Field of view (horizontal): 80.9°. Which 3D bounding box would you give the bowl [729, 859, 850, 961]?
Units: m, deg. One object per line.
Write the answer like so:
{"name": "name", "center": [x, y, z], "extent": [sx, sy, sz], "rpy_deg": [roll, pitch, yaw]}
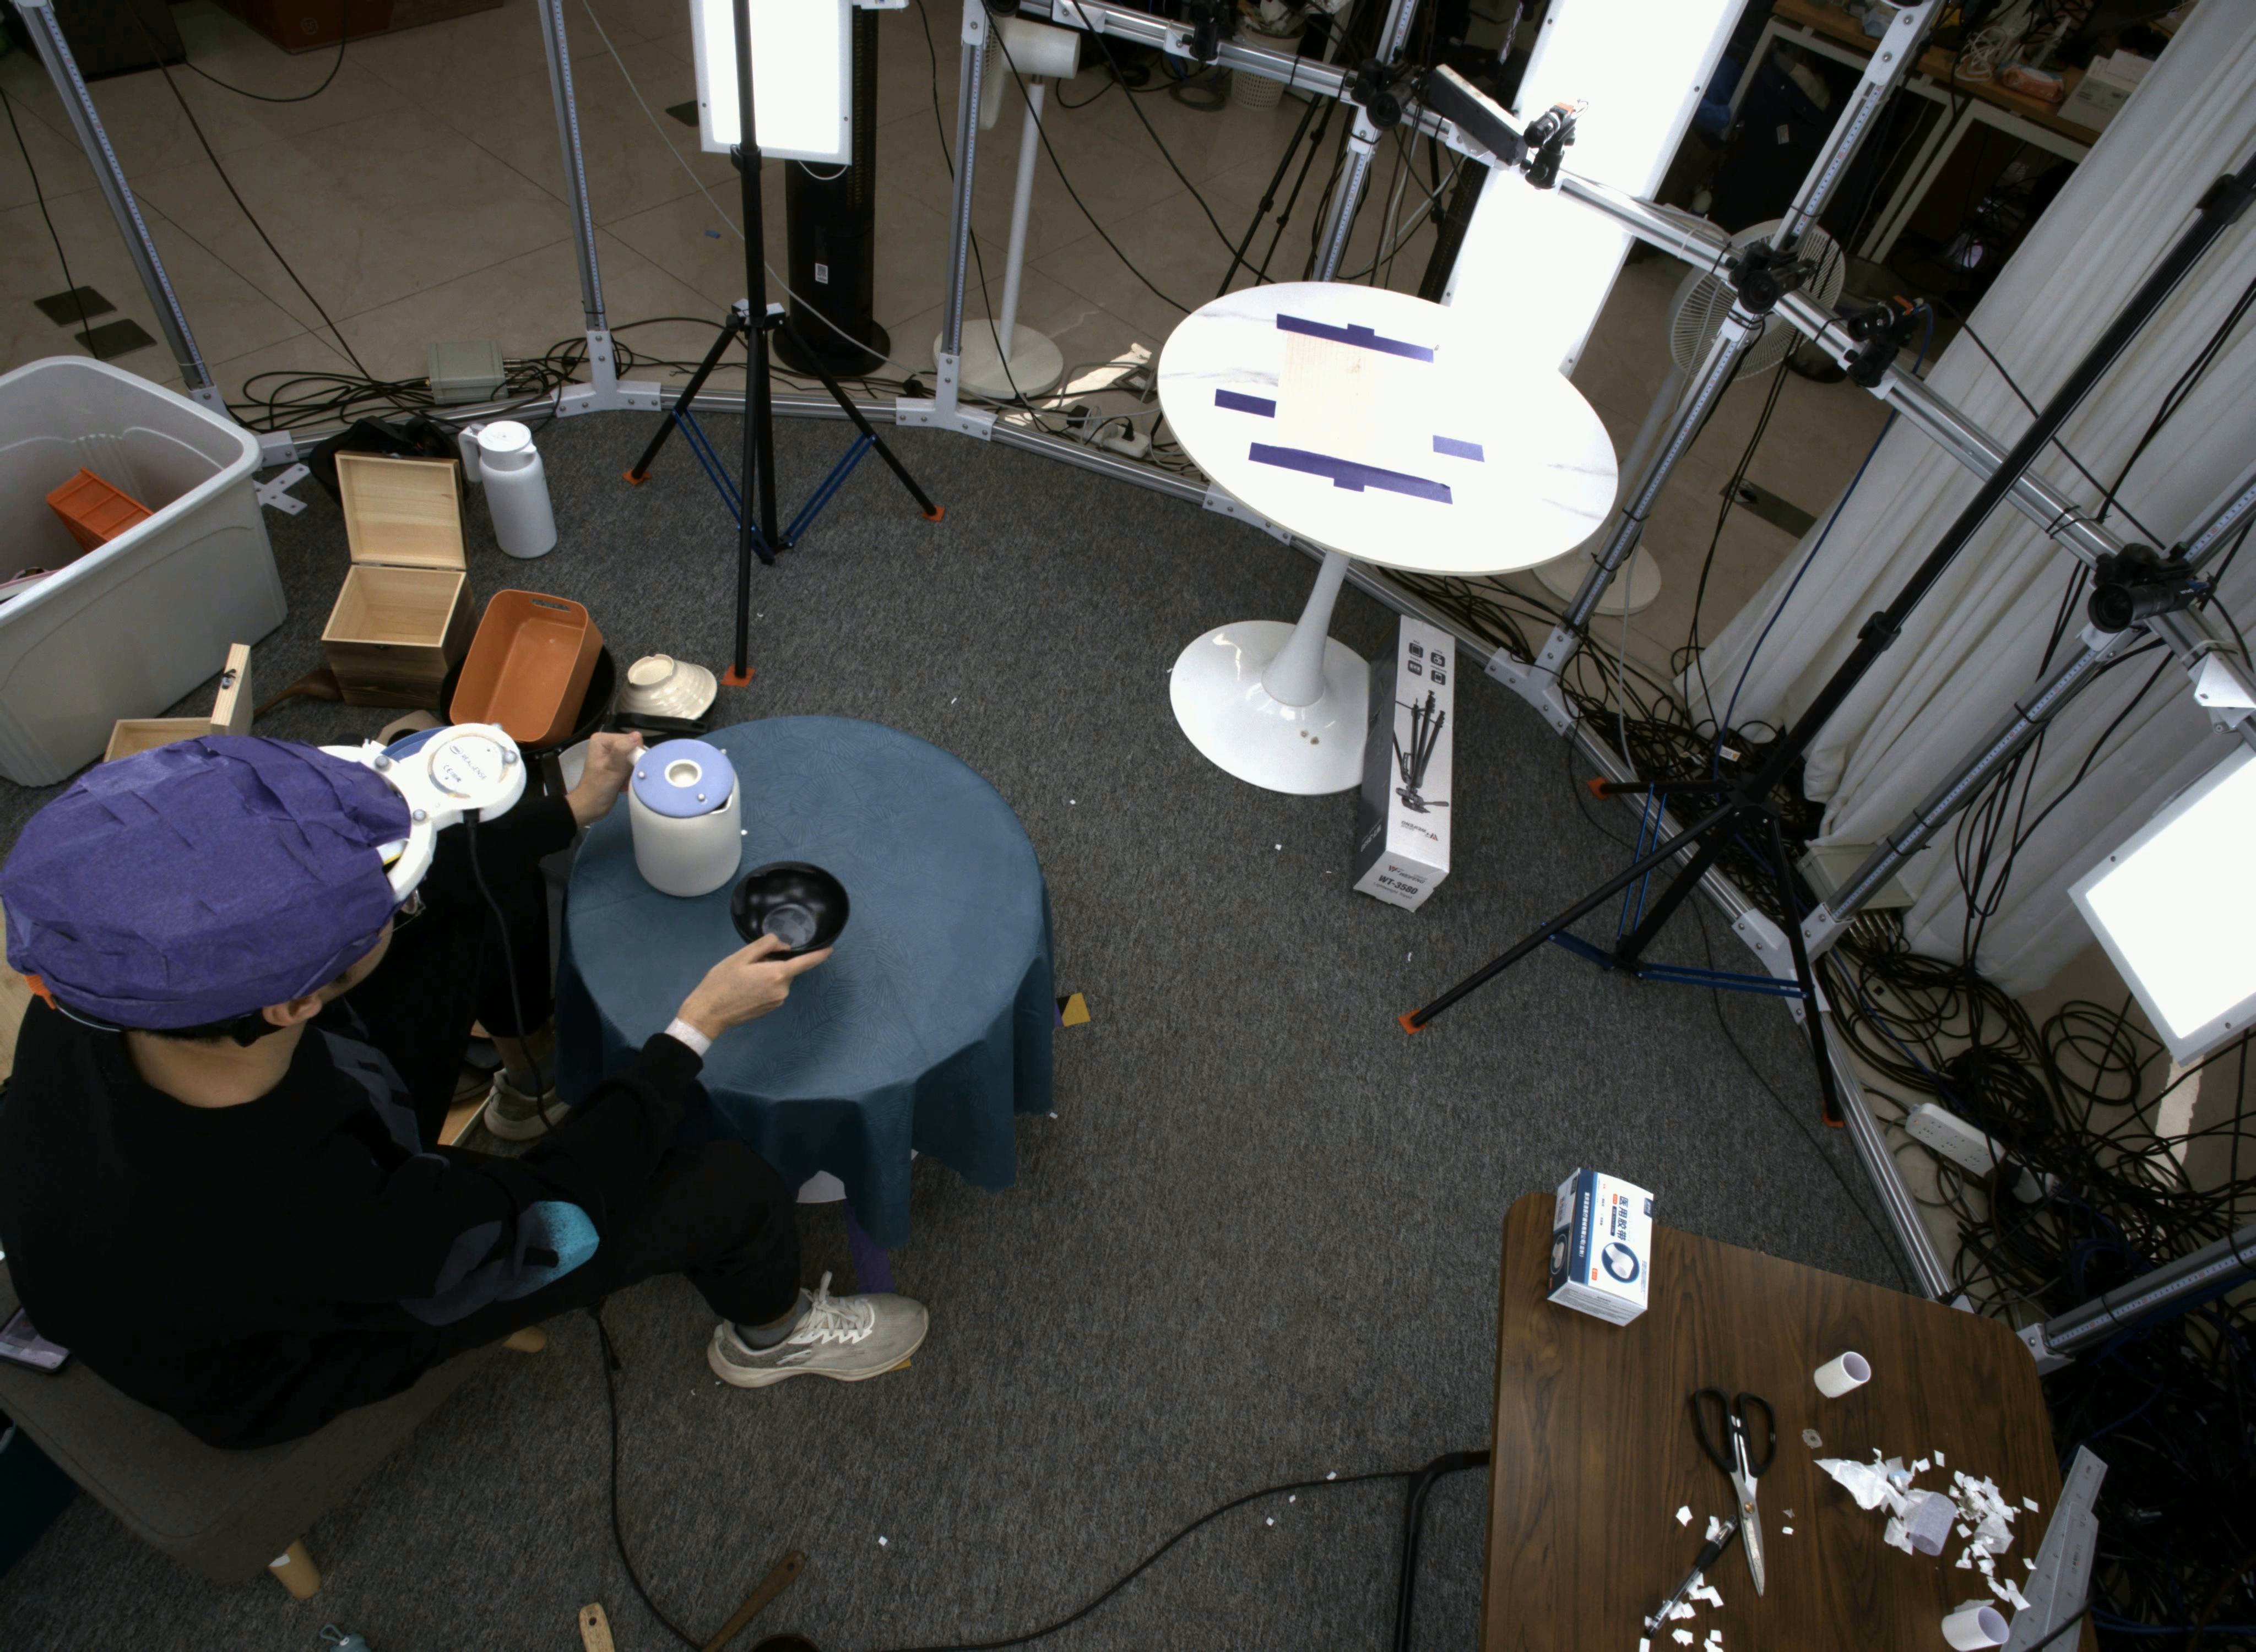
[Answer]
{"name": "bowl", "center": [-0.401, 0.106, 1.537], "extent": [0.140, 0.051, 0.137], "rpy_deg": [10, 50, -10]}

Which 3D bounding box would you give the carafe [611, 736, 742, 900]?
{"name": "carafe", "center": [-0.568, -0.022, 1.595], "extent": [0.188, 0.186, 0.132], "rpy_deg": [29, 50, 10]}
